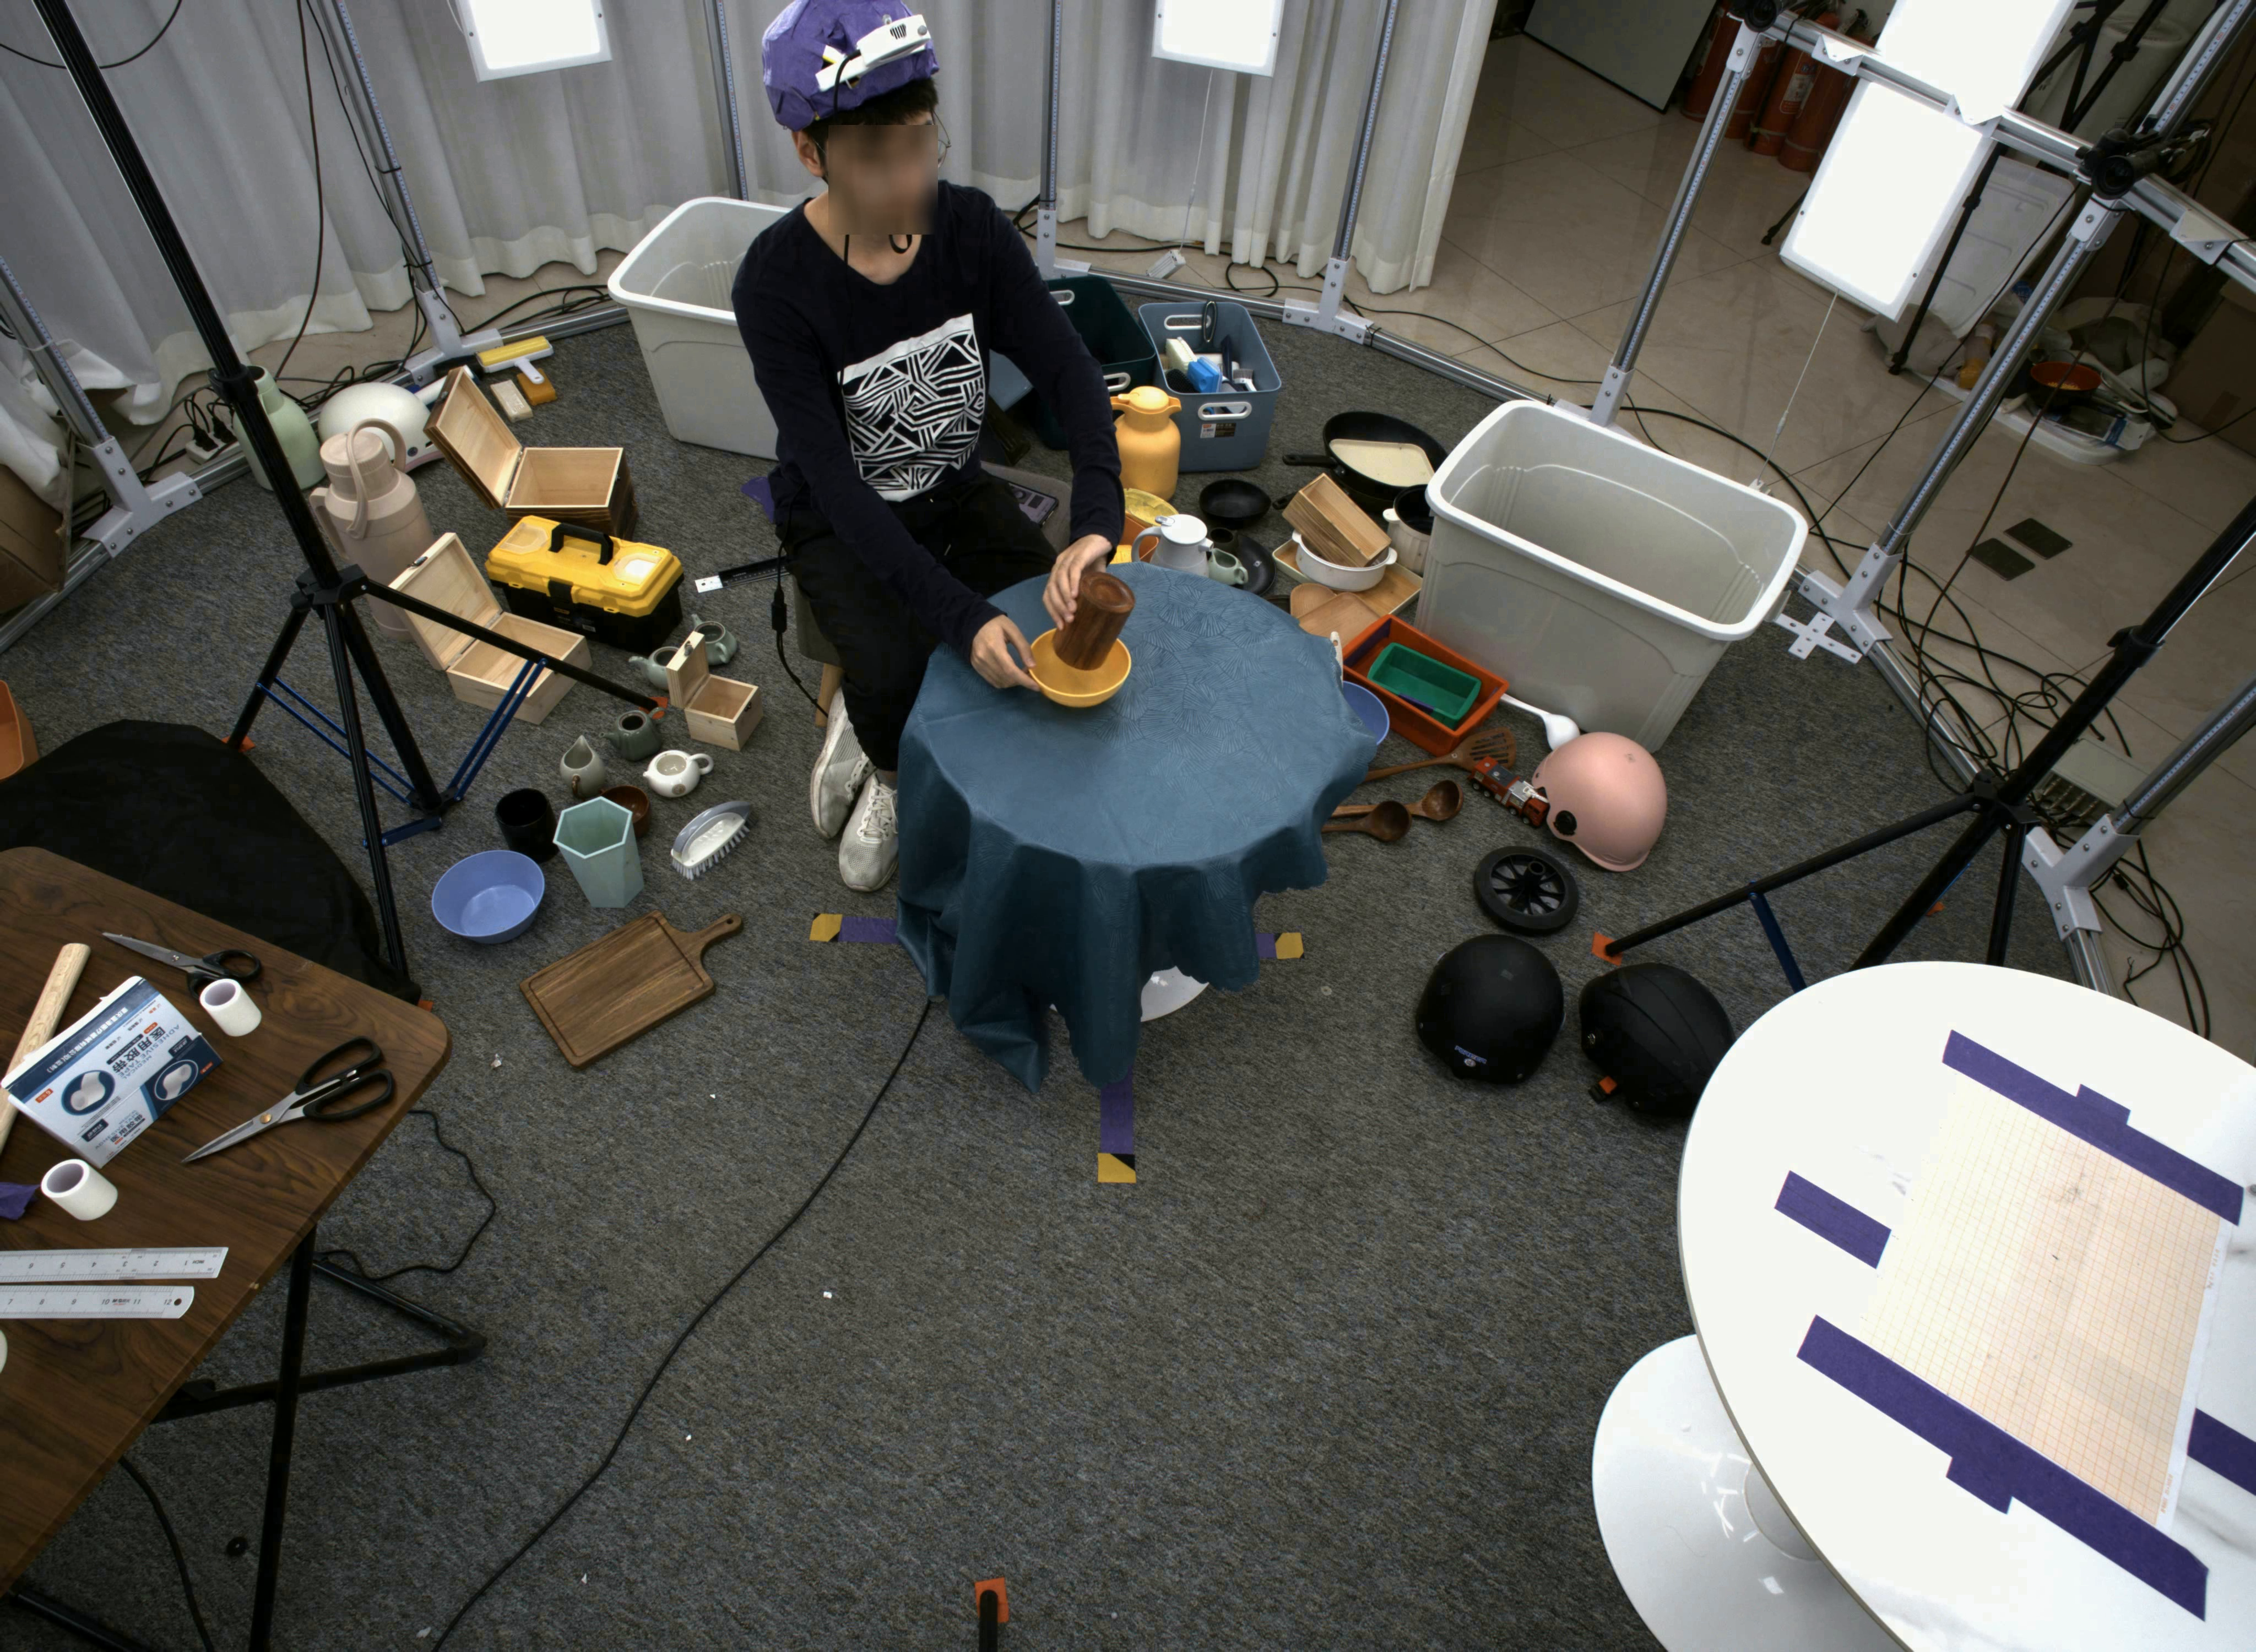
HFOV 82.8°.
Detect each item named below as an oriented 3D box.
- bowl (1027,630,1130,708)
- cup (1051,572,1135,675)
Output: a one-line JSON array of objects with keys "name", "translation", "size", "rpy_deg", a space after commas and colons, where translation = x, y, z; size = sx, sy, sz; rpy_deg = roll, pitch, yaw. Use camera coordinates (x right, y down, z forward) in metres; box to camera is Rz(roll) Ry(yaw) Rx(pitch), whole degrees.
[{"name": "bowl", "translation": [-0.070, -0.211, 1.809], "size": [0.145, 0.058, 0.149], "rpy_deg": [2, 47, -2]}, {"name": "cup", "translation": [-0.047, -0.275, 1.748], "size": [0.087, 0.116, 0.090], "rpy_deg": [15, 46, -17]}]
